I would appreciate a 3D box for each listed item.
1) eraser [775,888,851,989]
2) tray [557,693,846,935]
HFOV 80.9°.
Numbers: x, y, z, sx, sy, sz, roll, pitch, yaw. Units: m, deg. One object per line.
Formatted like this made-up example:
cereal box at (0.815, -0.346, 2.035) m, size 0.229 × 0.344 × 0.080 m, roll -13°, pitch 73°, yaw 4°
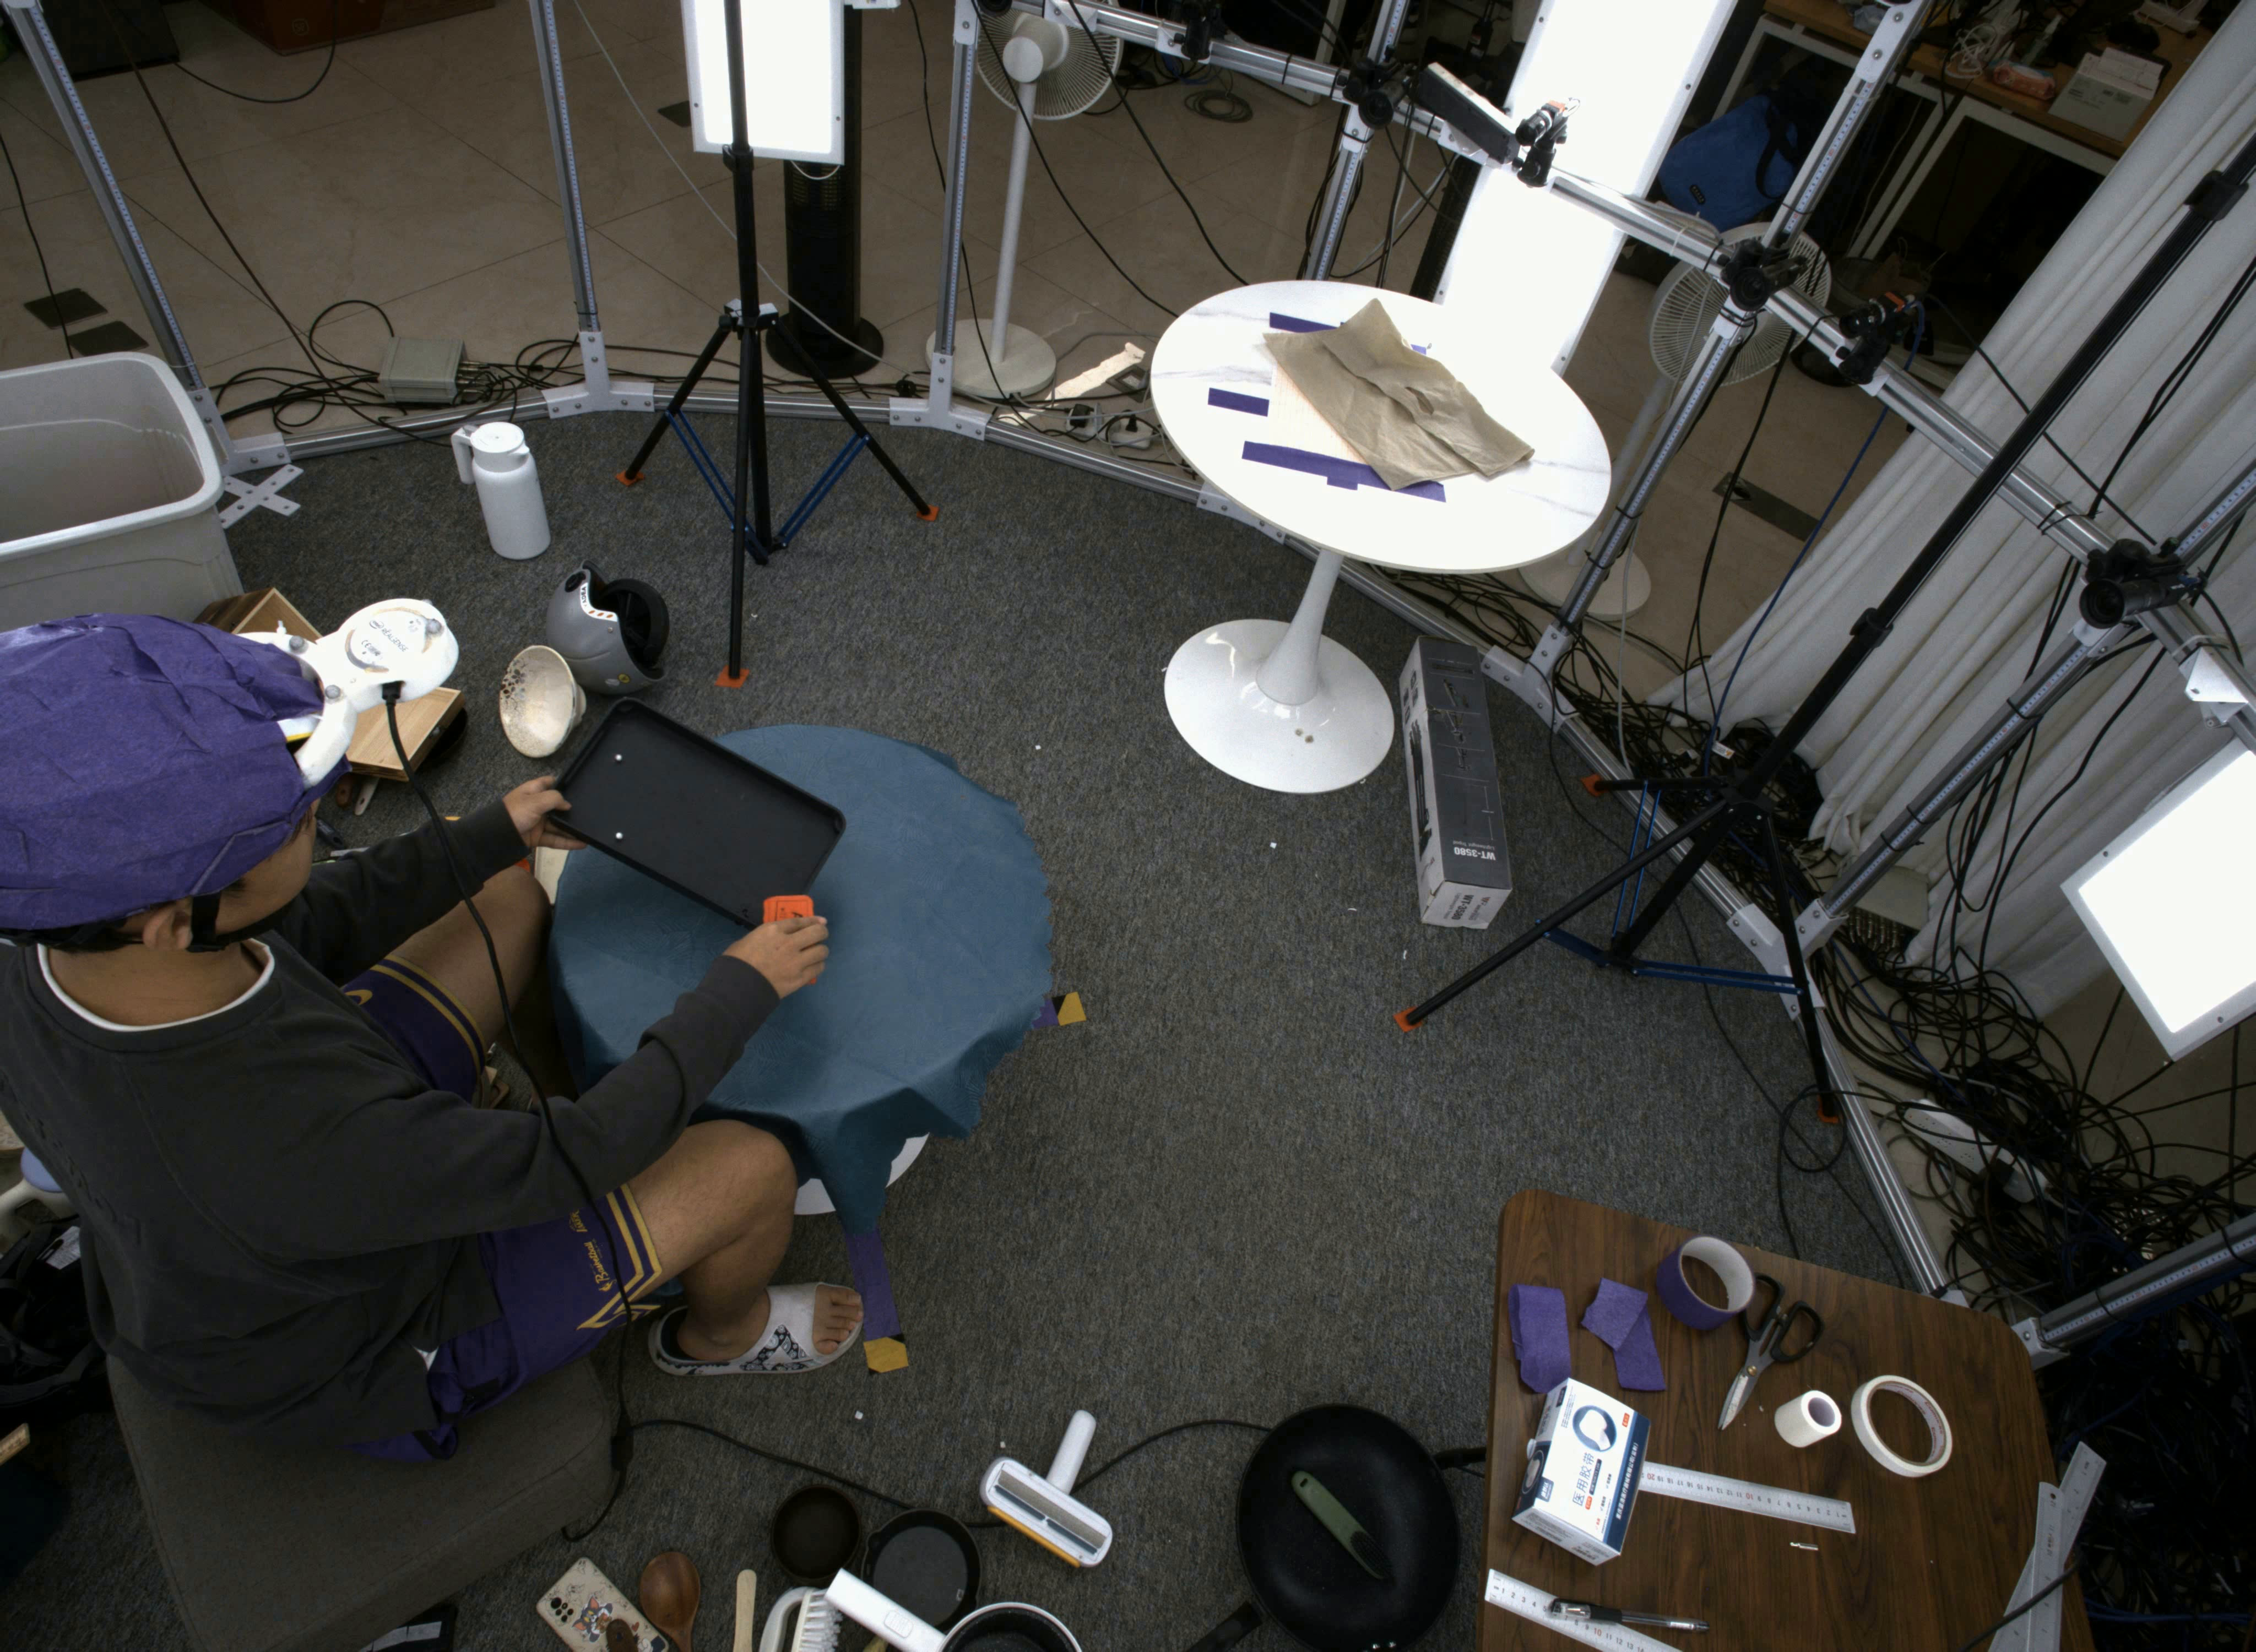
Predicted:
eraser at (-0.369, 0.130, 1.519) m, size 0.059 × 0.023 × 0.108 m, roll -22°, pitch 87°, yaw -20°
tray at (-0.516, -0.016, 1.549) m, size 0.320 × 0.037 × 0.183 m, roll 29°, pitch 63°, yaw -10°
